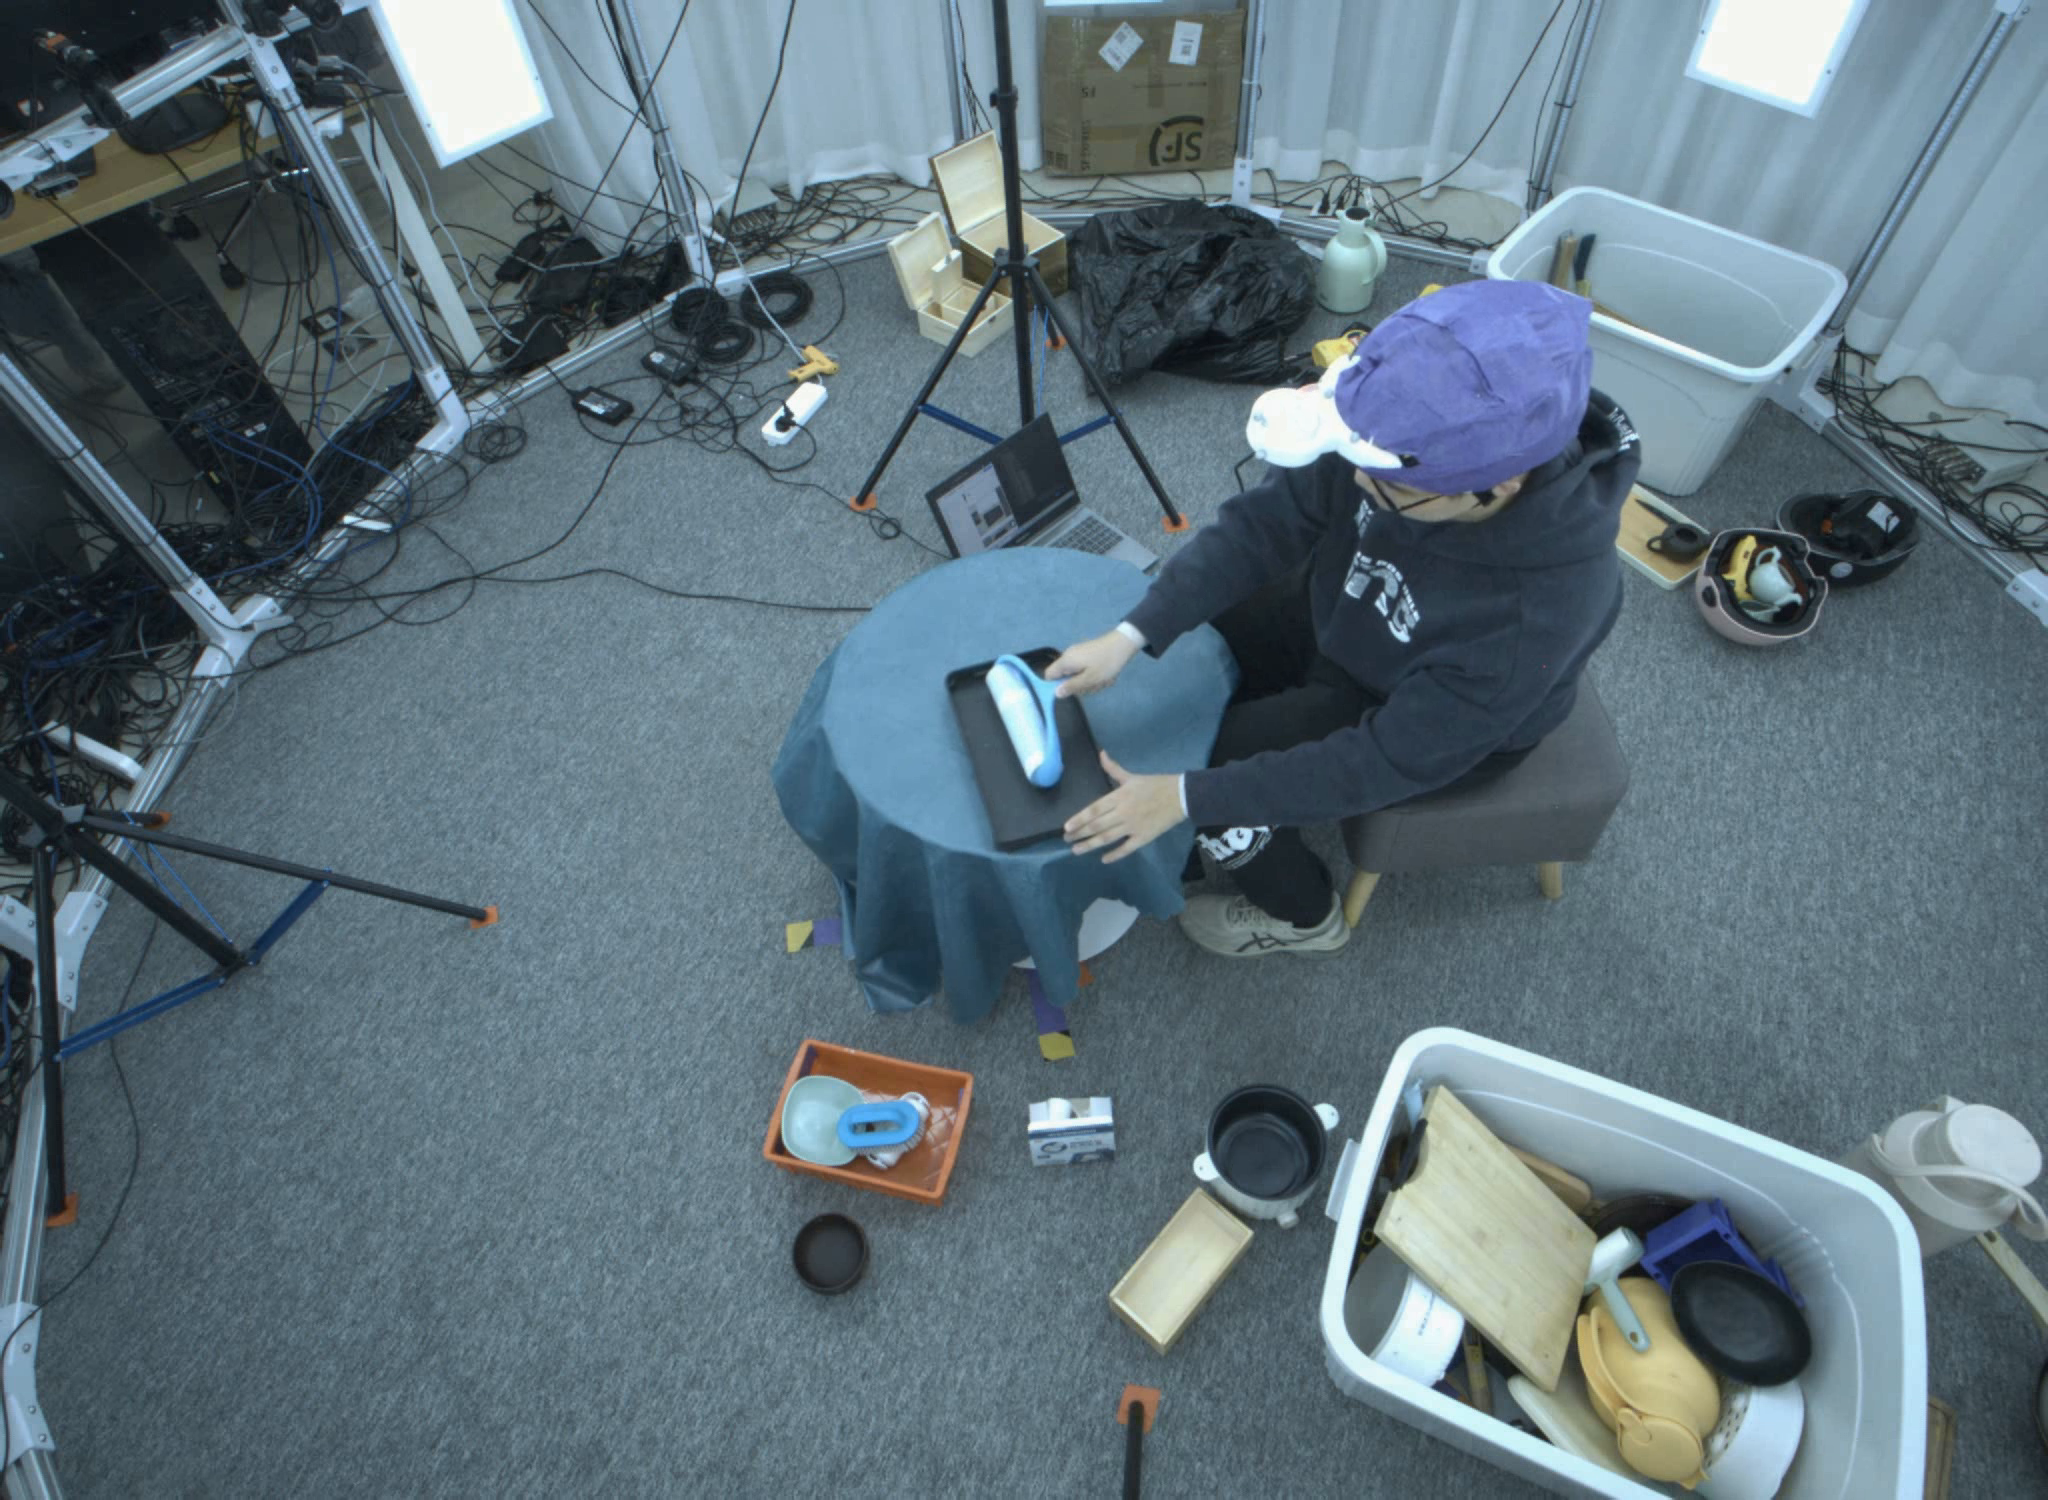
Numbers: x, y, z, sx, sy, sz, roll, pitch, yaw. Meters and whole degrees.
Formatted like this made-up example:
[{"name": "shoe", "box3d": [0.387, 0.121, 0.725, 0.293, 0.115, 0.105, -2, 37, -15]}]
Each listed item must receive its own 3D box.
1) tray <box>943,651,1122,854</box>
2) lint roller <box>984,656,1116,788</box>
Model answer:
[{"name": "tray", "box3d": [0.008, -0.002, 1.771, 0.185, 0.037, 0.312, -15, 54, -9]}, {"name": "lint roller", "box3d": [0.042, -0.073, 1.762, 0.179, 0.069, 0.225, -36, 53, 14]}]
